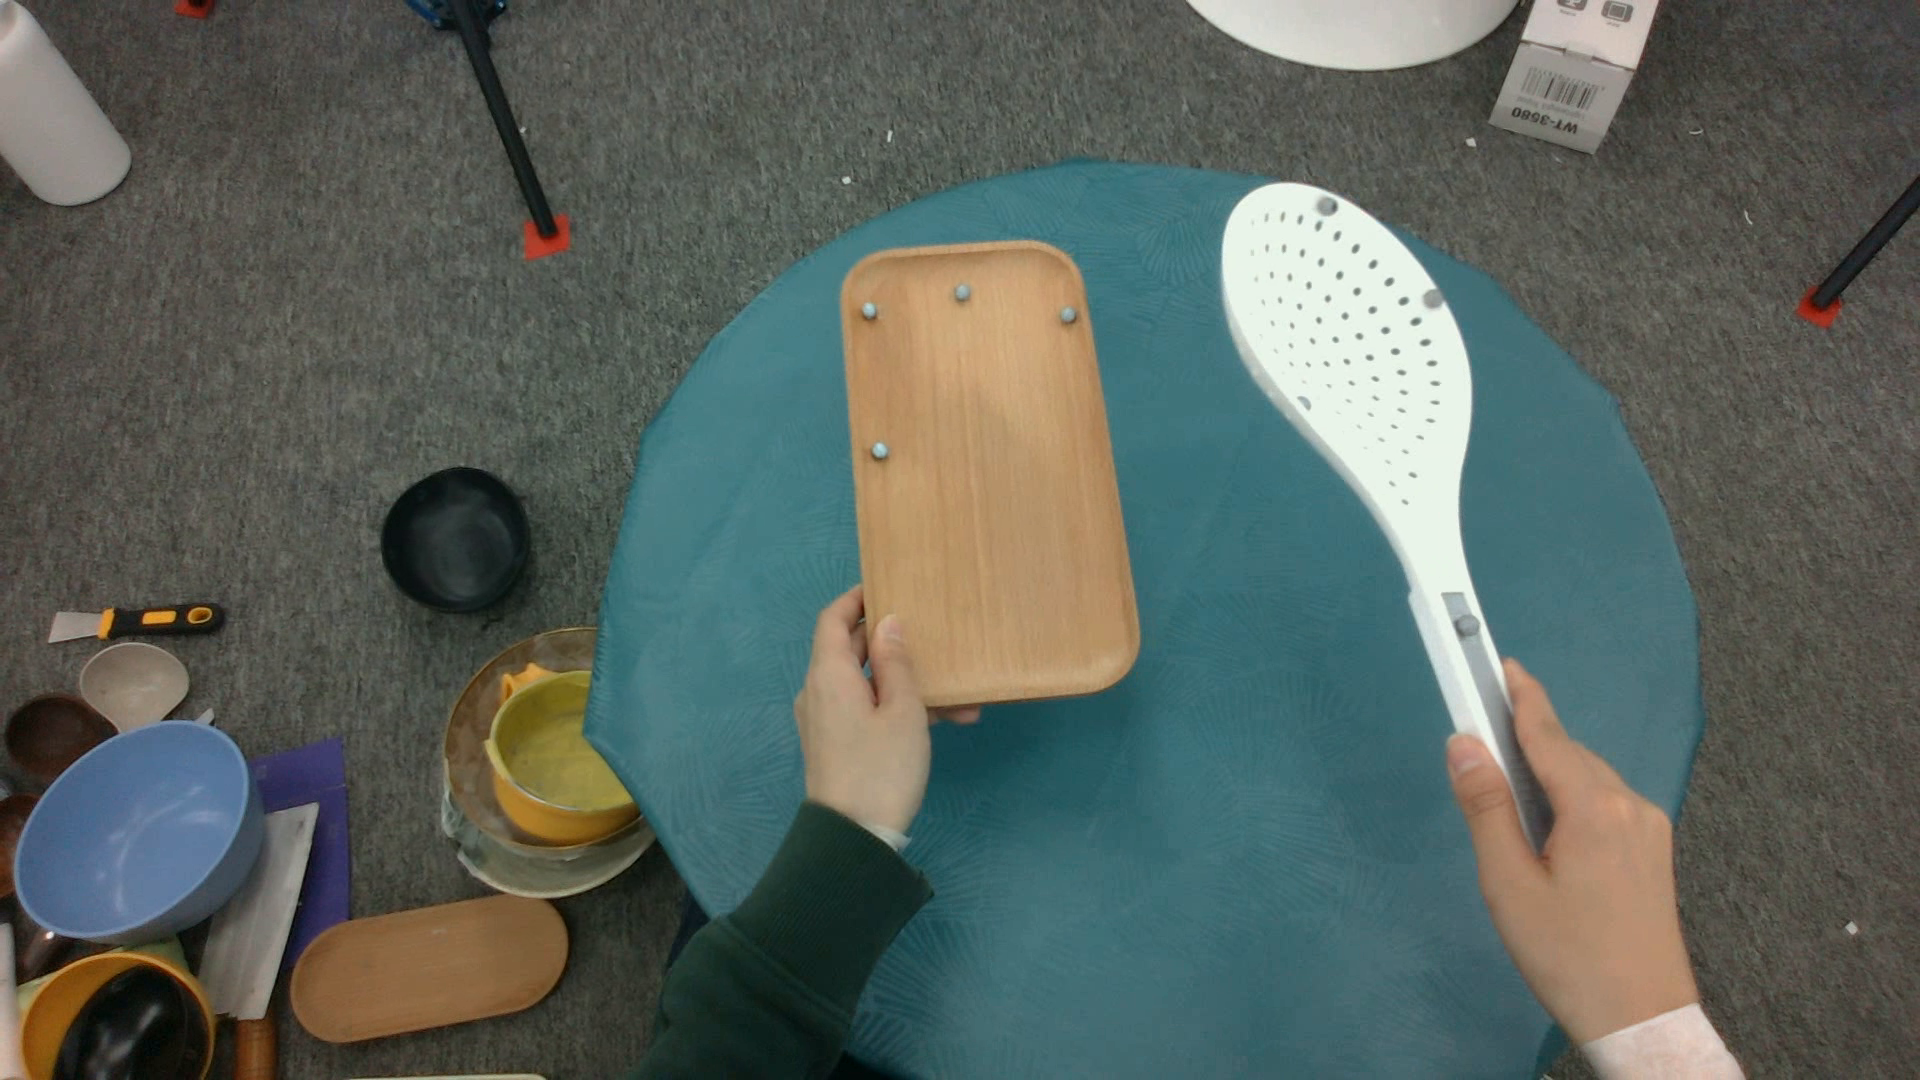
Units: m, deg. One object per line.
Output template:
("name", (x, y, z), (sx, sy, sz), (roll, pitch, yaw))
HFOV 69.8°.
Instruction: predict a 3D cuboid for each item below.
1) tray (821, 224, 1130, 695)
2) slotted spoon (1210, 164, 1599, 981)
("tray", (0.004, -0.046, 0.676), (0.130, 0.023, 0.251), (-5, 68, -3))
("slotted spoon", (0.183, -0.001, 0.559), (0.136, 0.045, 0.350), (-1, 62, -32))
